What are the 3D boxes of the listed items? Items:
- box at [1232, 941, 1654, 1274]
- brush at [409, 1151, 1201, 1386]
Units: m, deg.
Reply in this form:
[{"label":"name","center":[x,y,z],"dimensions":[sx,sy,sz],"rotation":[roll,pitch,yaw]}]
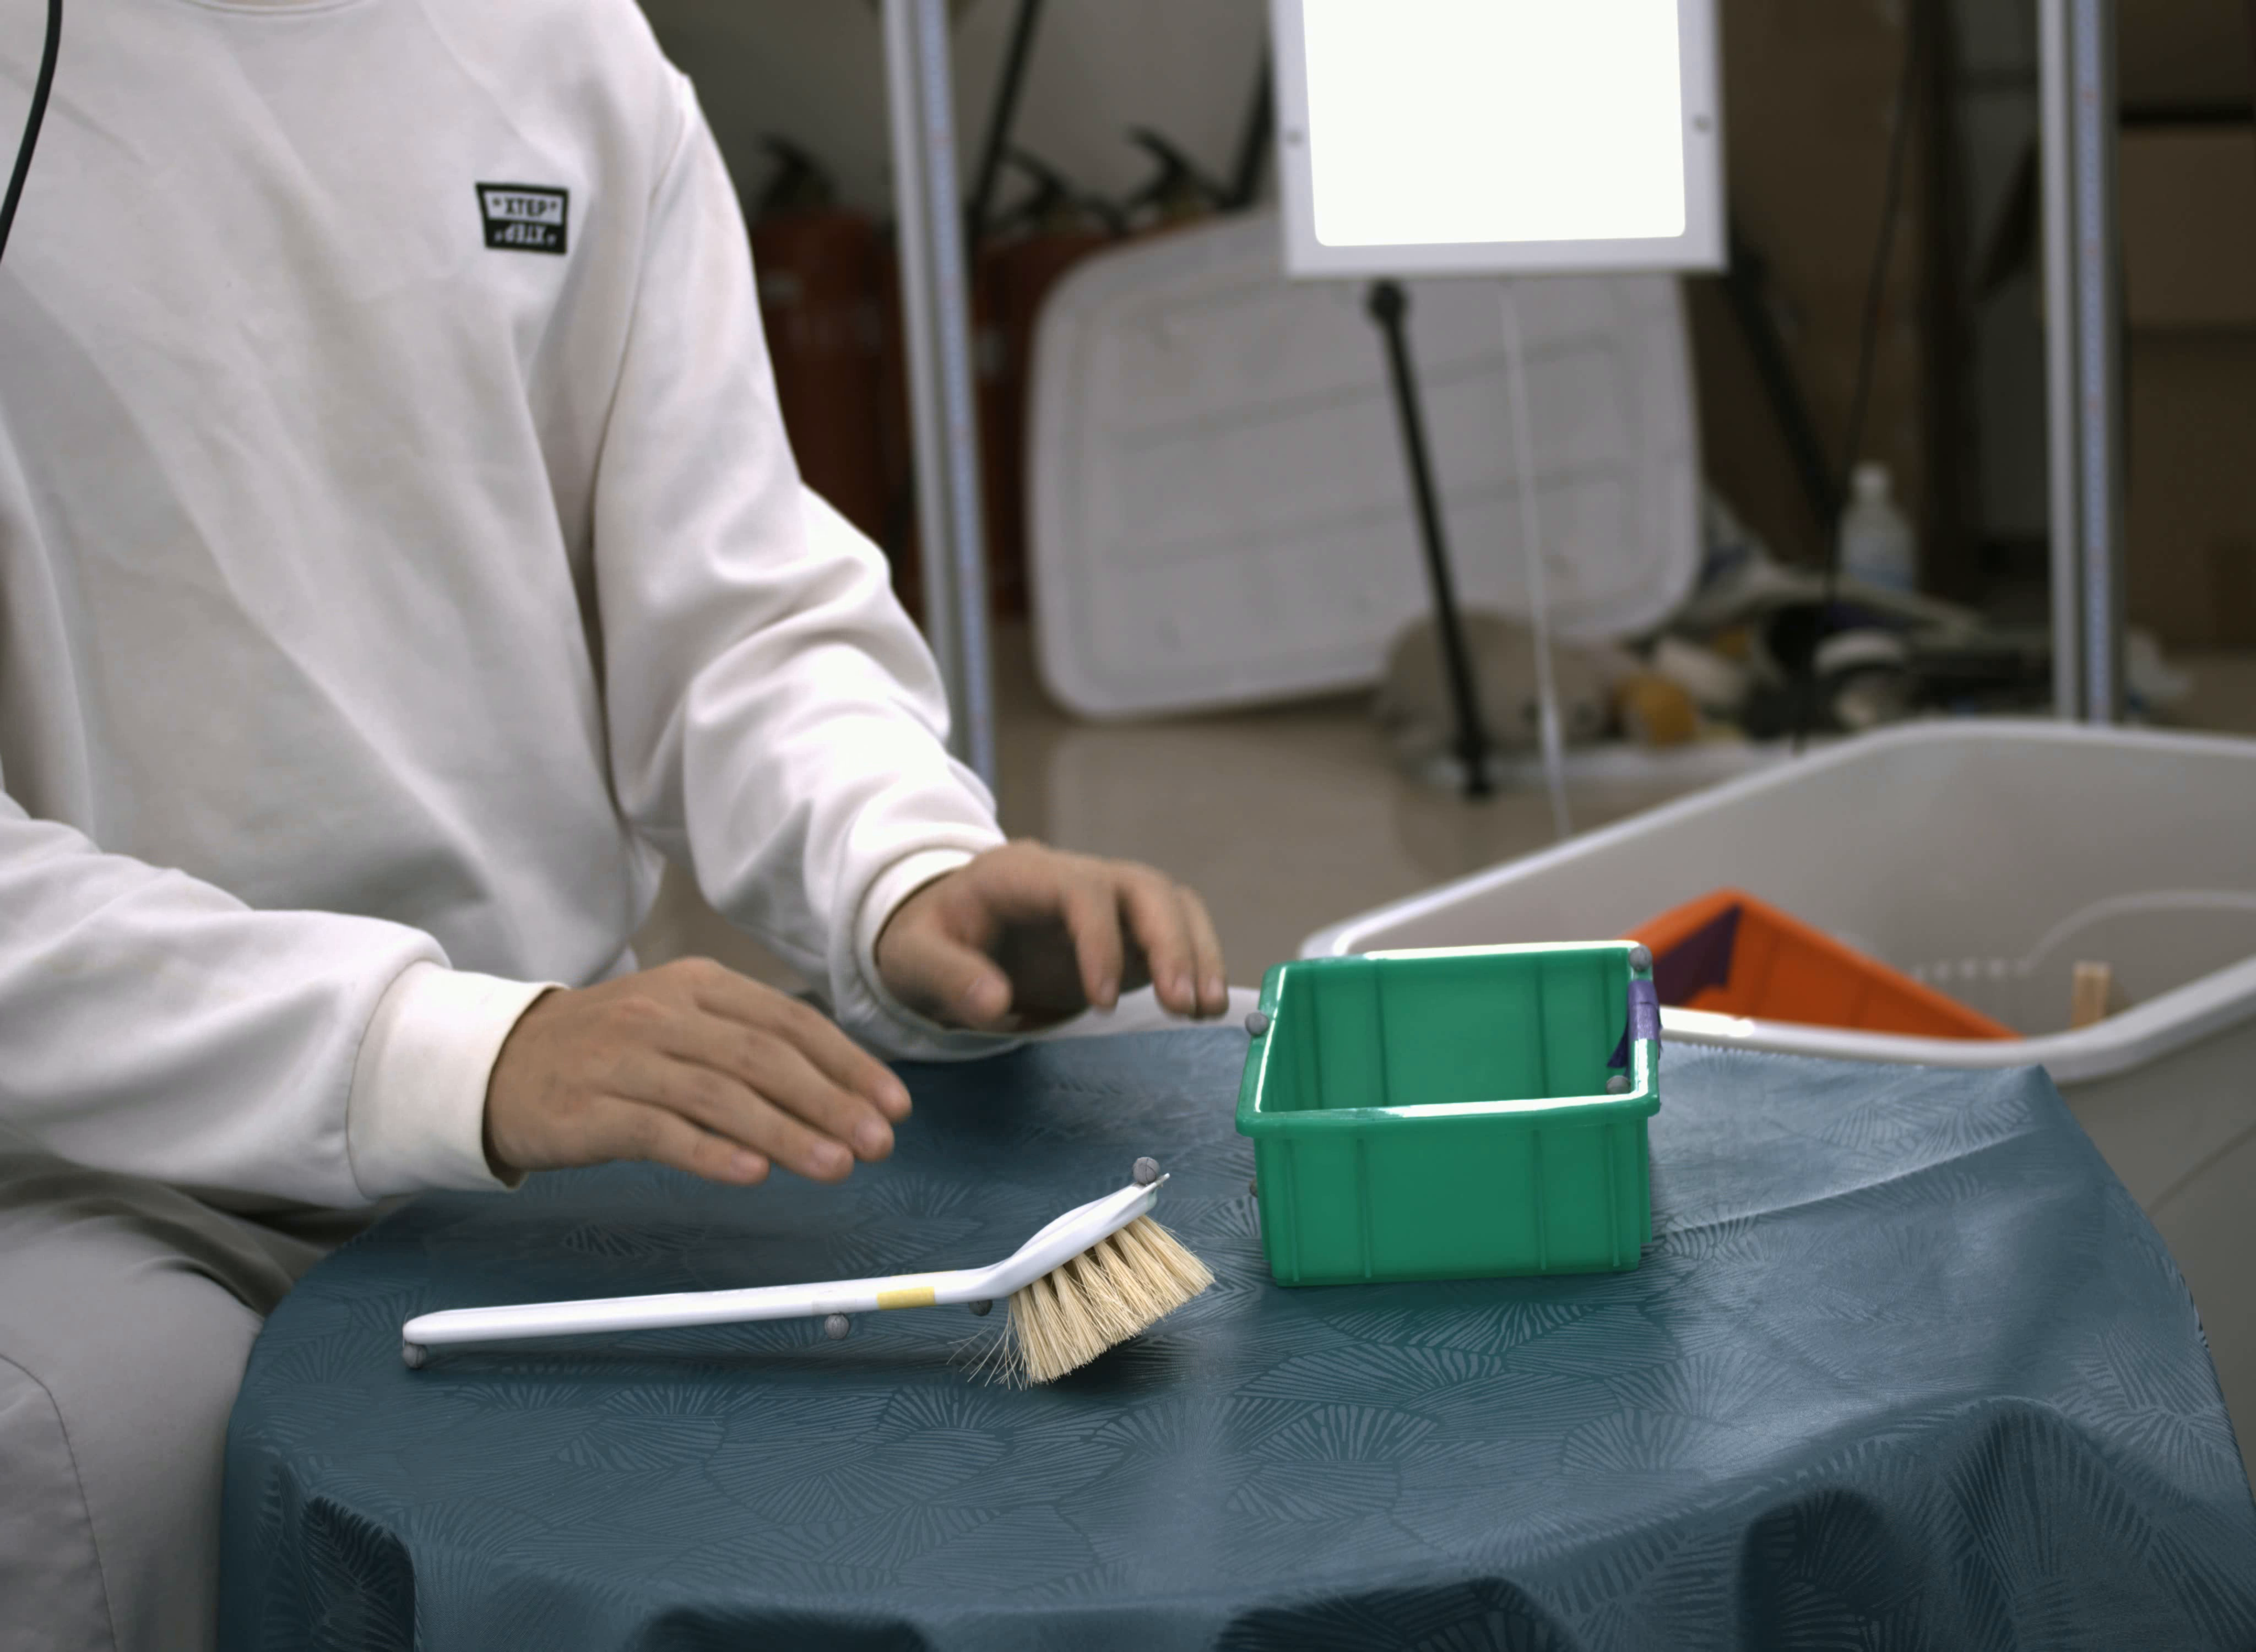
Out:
[{"label":"box","center":[0.110,0.094,1.858],"dimensions":[0.139,0.065,0.209],"rotation":[-3,11,6]},{"label":"brush","center":[-0.103,0.164,1.755],"dimensions":[0.269,0.056,0.067],"rotation":[-17,-13,16]}]
